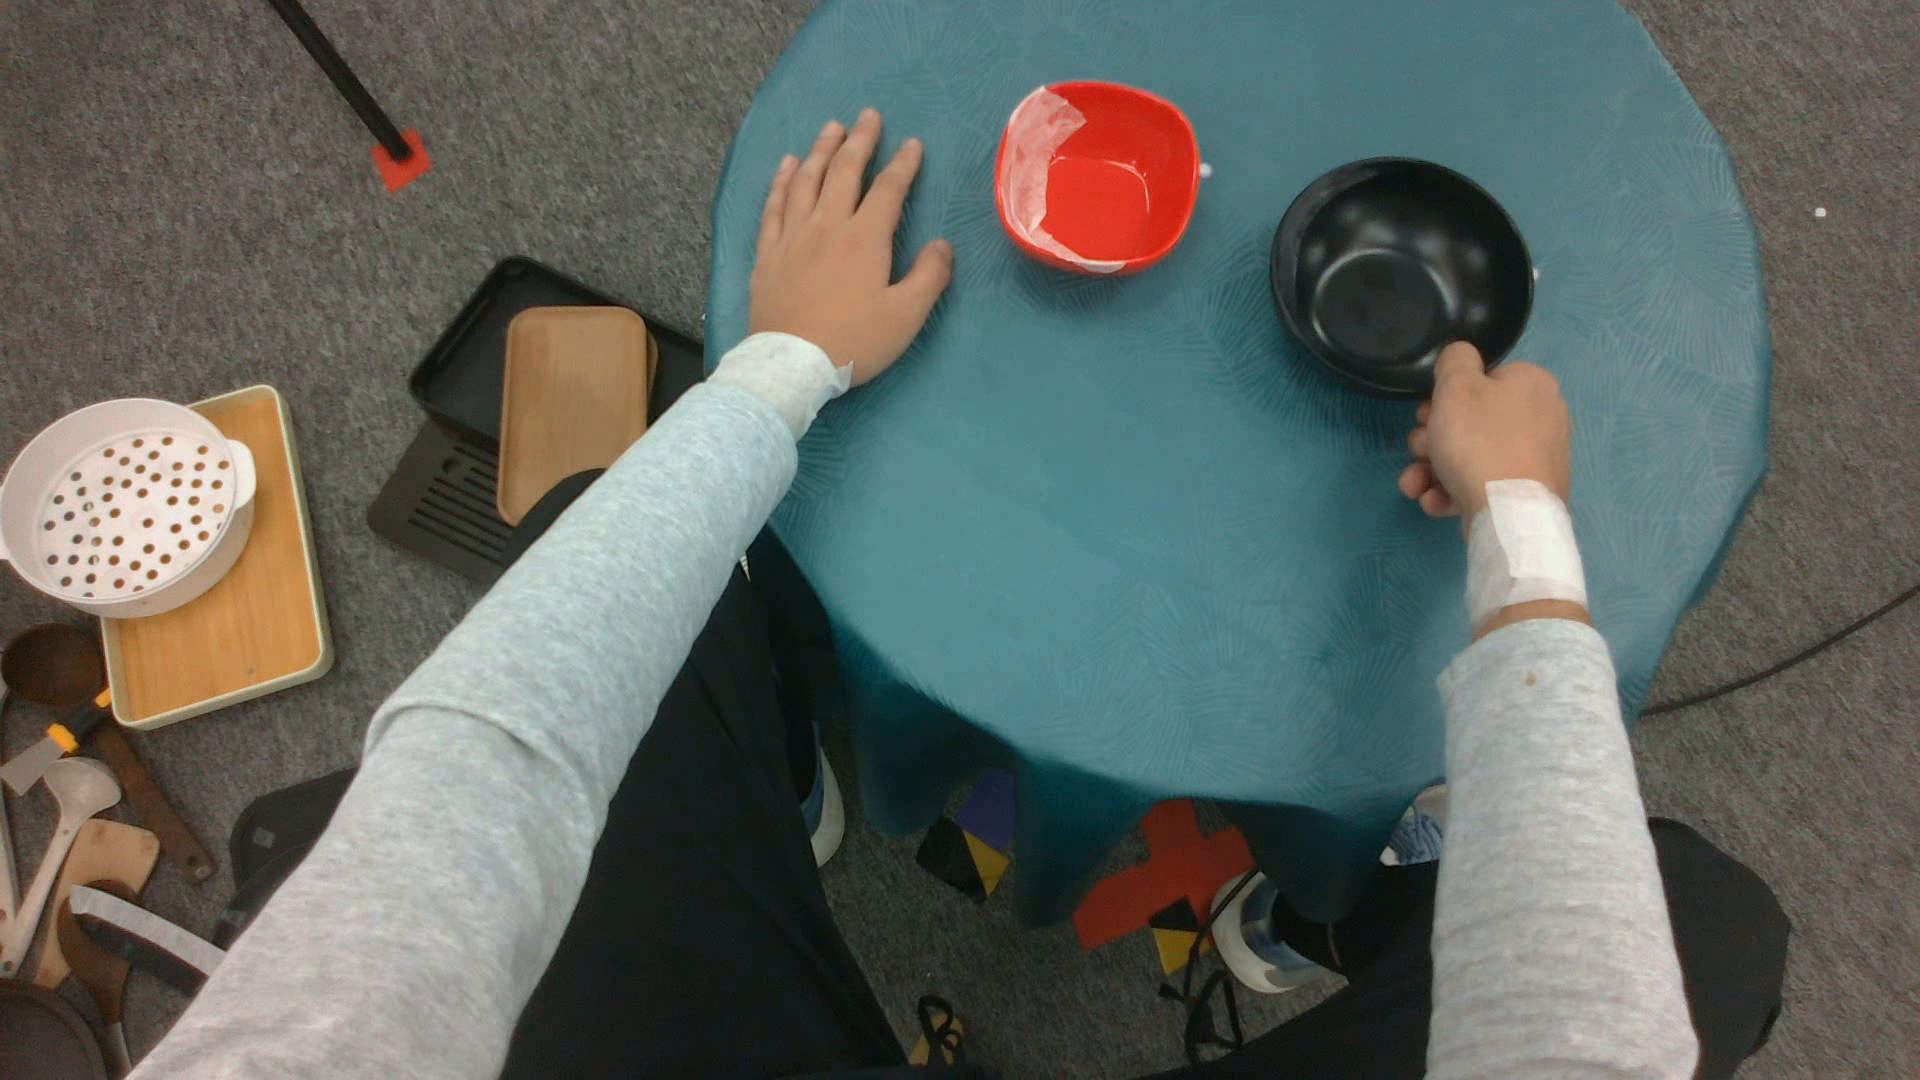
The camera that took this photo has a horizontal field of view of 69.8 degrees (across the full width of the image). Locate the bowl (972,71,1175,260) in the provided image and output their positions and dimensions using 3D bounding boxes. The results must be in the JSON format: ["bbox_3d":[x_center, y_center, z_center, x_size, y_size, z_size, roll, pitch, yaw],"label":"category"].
[{"bbox_3d":[0.061,-0.200,0.769,0.119,0.051,0.119,1,72,-2],"label":"bowl"}]

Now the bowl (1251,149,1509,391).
[{"bbox_3d":[0.224,-0.141,0.757,0.140,0.049,0.140,1,75,-2],"label":"bowl"}]
